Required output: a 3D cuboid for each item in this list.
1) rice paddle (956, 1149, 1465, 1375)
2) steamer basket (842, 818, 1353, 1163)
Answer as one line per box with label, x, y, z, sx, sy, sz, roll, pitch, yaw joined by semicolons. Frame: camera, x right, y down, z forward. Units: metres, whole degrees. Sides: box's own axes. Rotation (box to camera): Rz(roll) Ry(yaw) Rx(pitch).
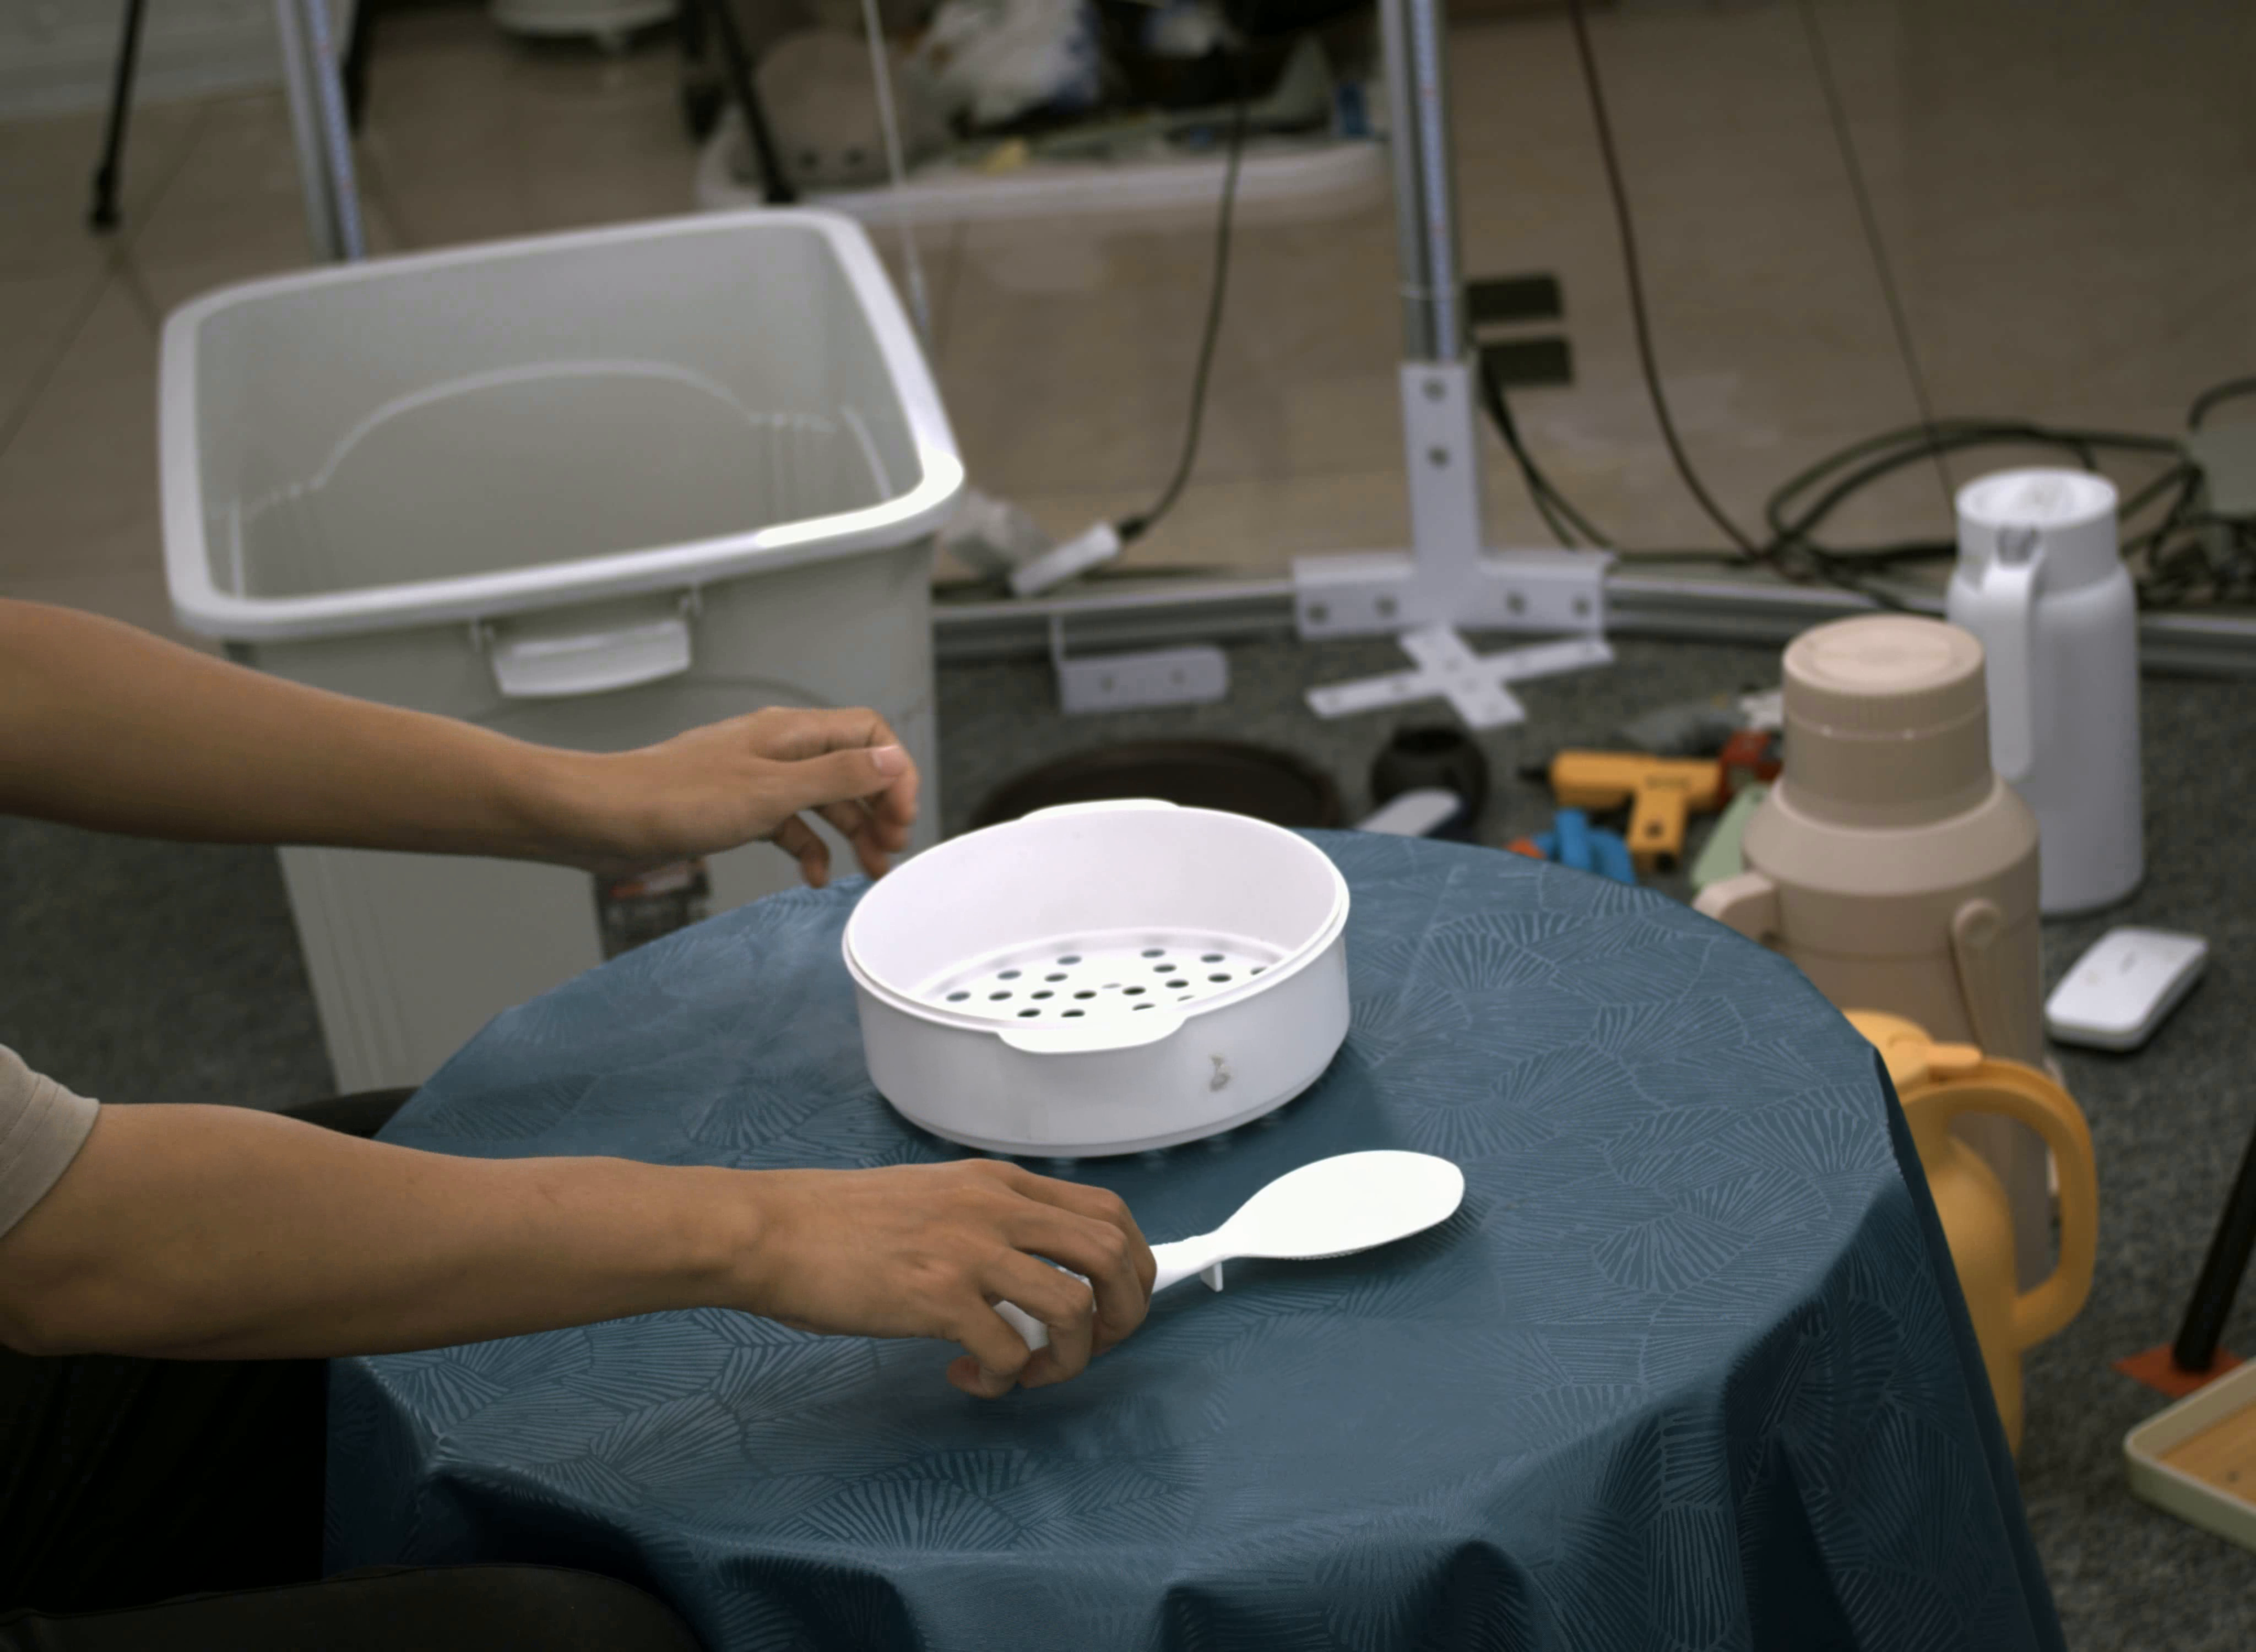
rice paddle;0.033;0.153;2.076;0.204;0.030;0.068;-18;29;-24
steamer basket;-0.010;0.066;2.237;0.201;0.070;0.227;-4;23;3
